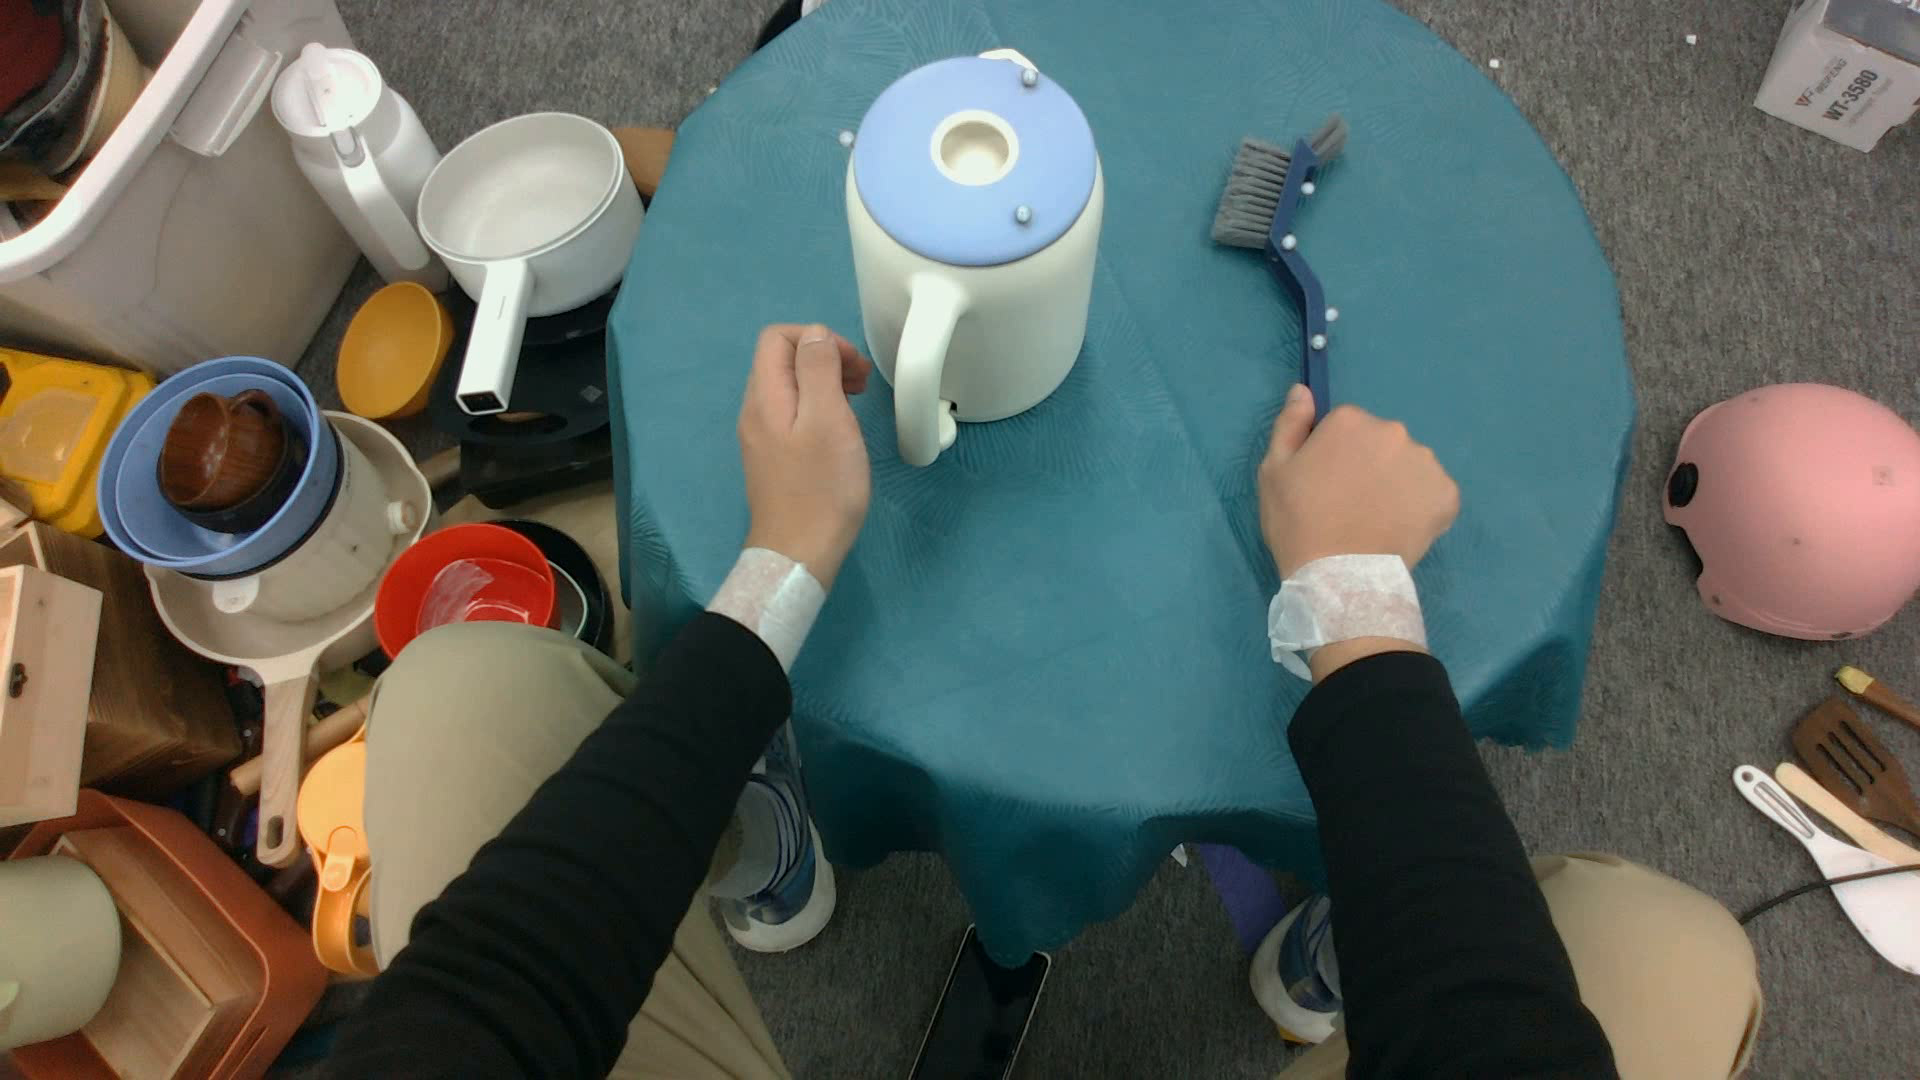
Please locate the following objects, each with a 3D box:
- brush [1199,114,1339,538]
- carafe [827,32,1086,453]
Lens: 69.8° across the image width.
[{"bbox_3d":[0.200,-0.134,0.809,0.096,0.033,0.274,-4,69,-5],"label":"brush"},{"bbox_3d":[-0.008,-0.143,0.735,0.132,0.182,0.191,13,71,5],"label":"carafe"}]
